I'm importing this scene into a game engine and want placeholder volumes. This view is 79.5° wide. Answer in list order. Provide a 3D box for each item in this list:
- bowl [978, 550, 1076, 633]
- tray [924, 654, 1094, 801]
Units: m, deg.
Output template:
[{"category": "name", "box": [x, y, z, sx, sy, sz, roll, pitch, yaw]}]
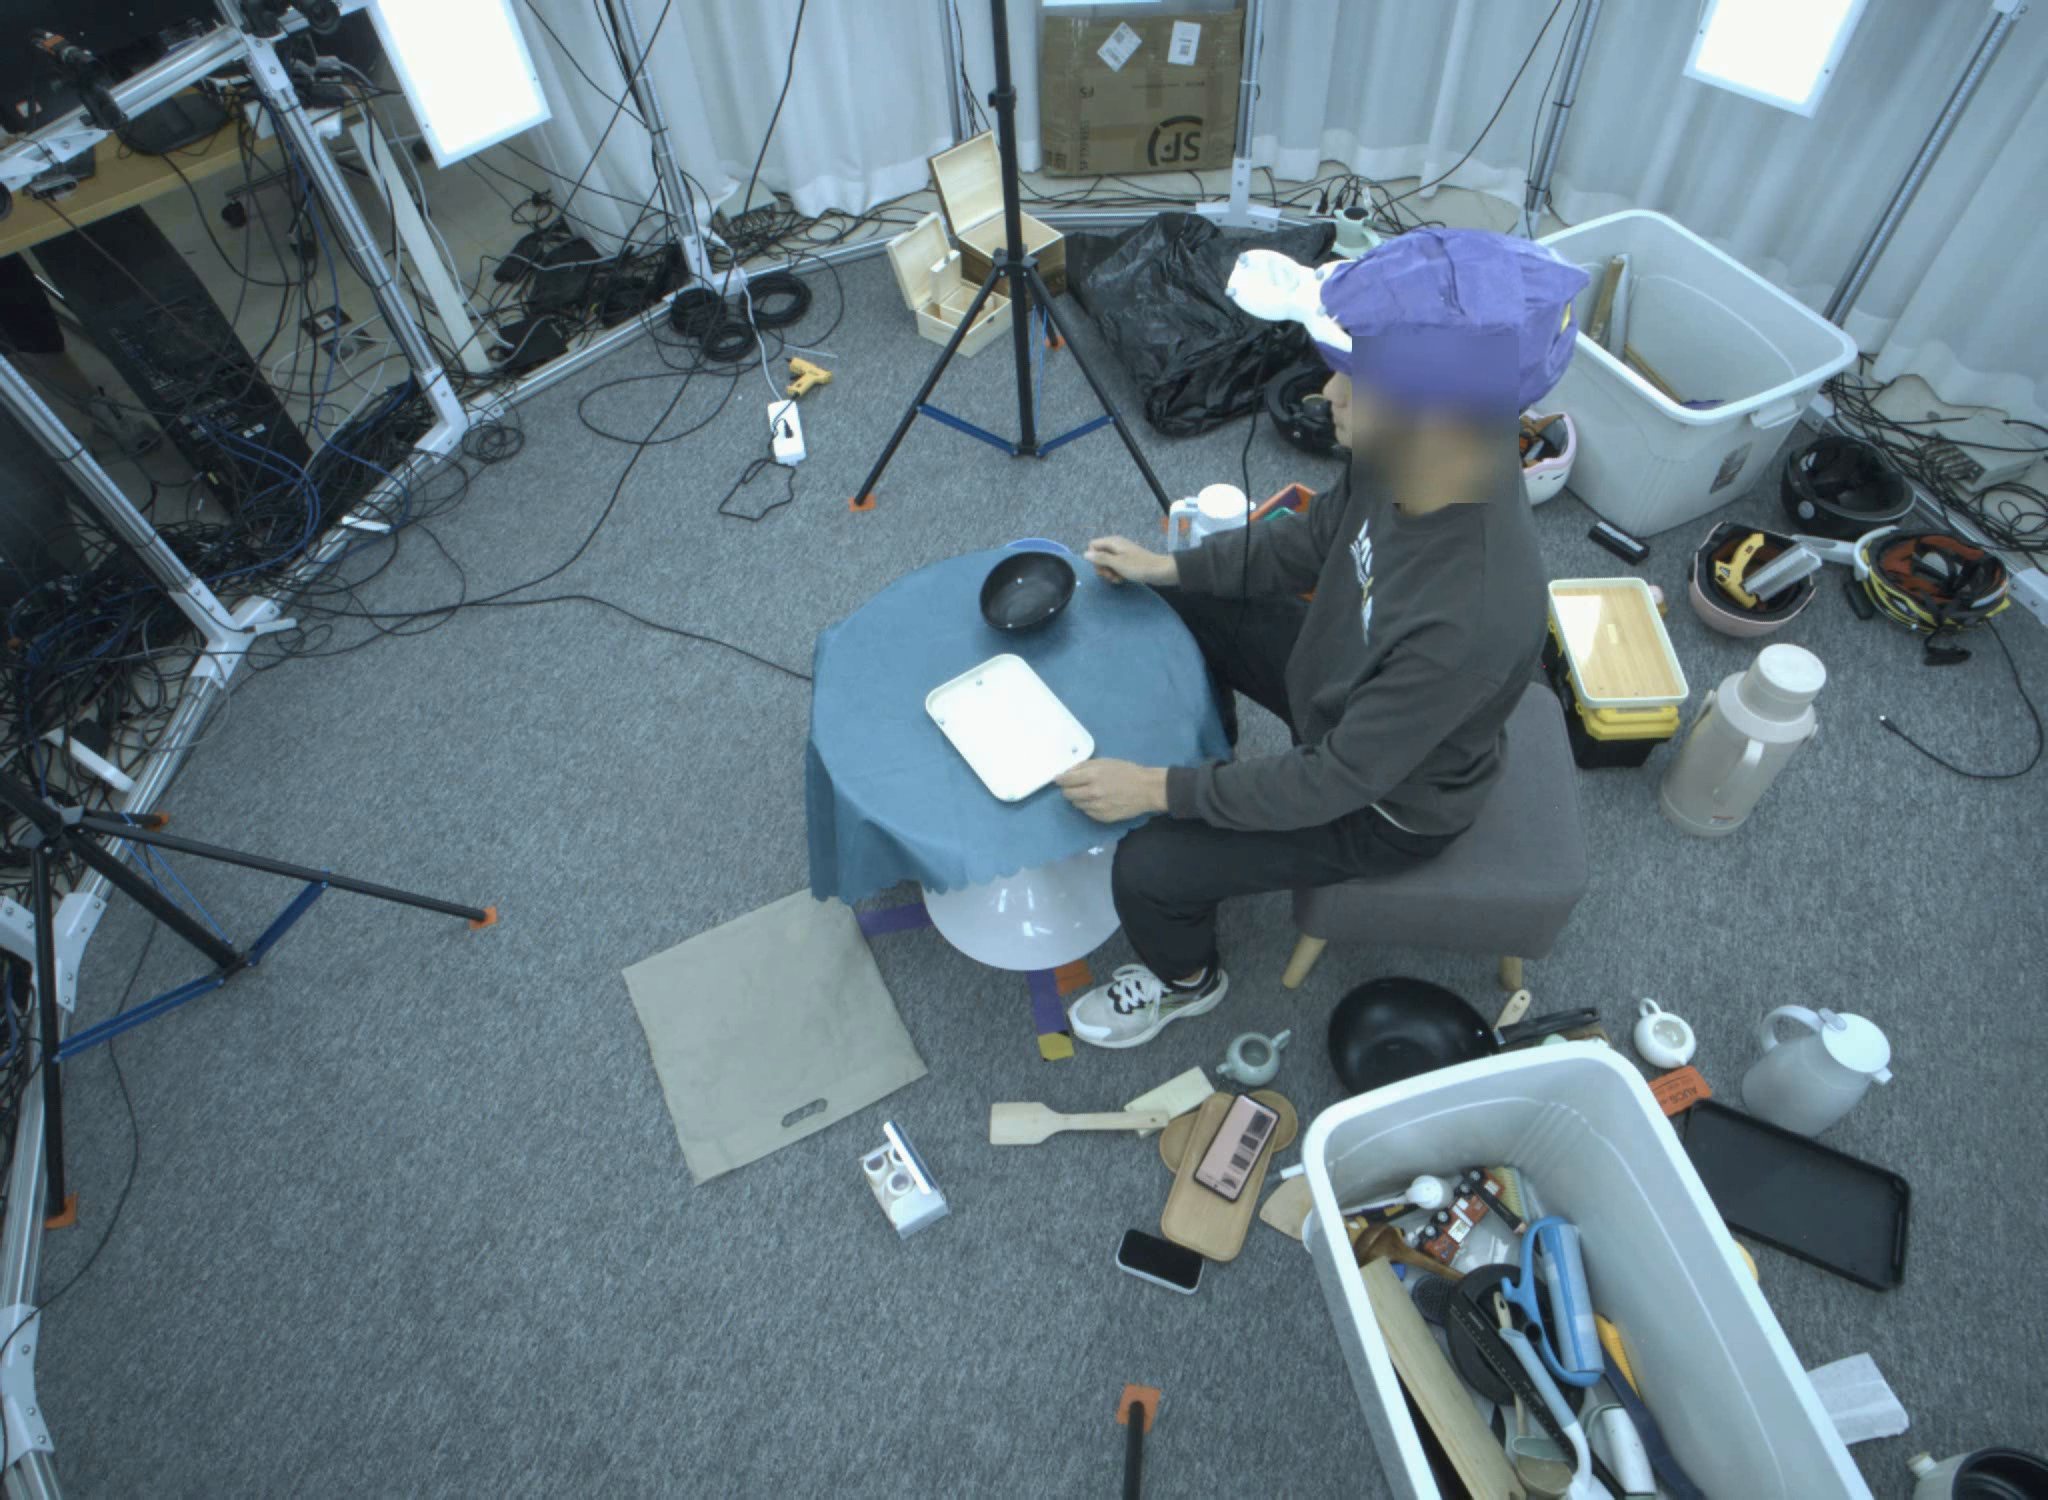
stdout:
[{"category": "bowl", "box": [0.007, -0.235, 1.914, 0.135, 0.067, 0.171, 33, 63, 24]}, {"category": "tray", "box": [-0.023, -0.035, 1.800, 0.173, 0.017, 0.235, -29, 59, -19]}]
